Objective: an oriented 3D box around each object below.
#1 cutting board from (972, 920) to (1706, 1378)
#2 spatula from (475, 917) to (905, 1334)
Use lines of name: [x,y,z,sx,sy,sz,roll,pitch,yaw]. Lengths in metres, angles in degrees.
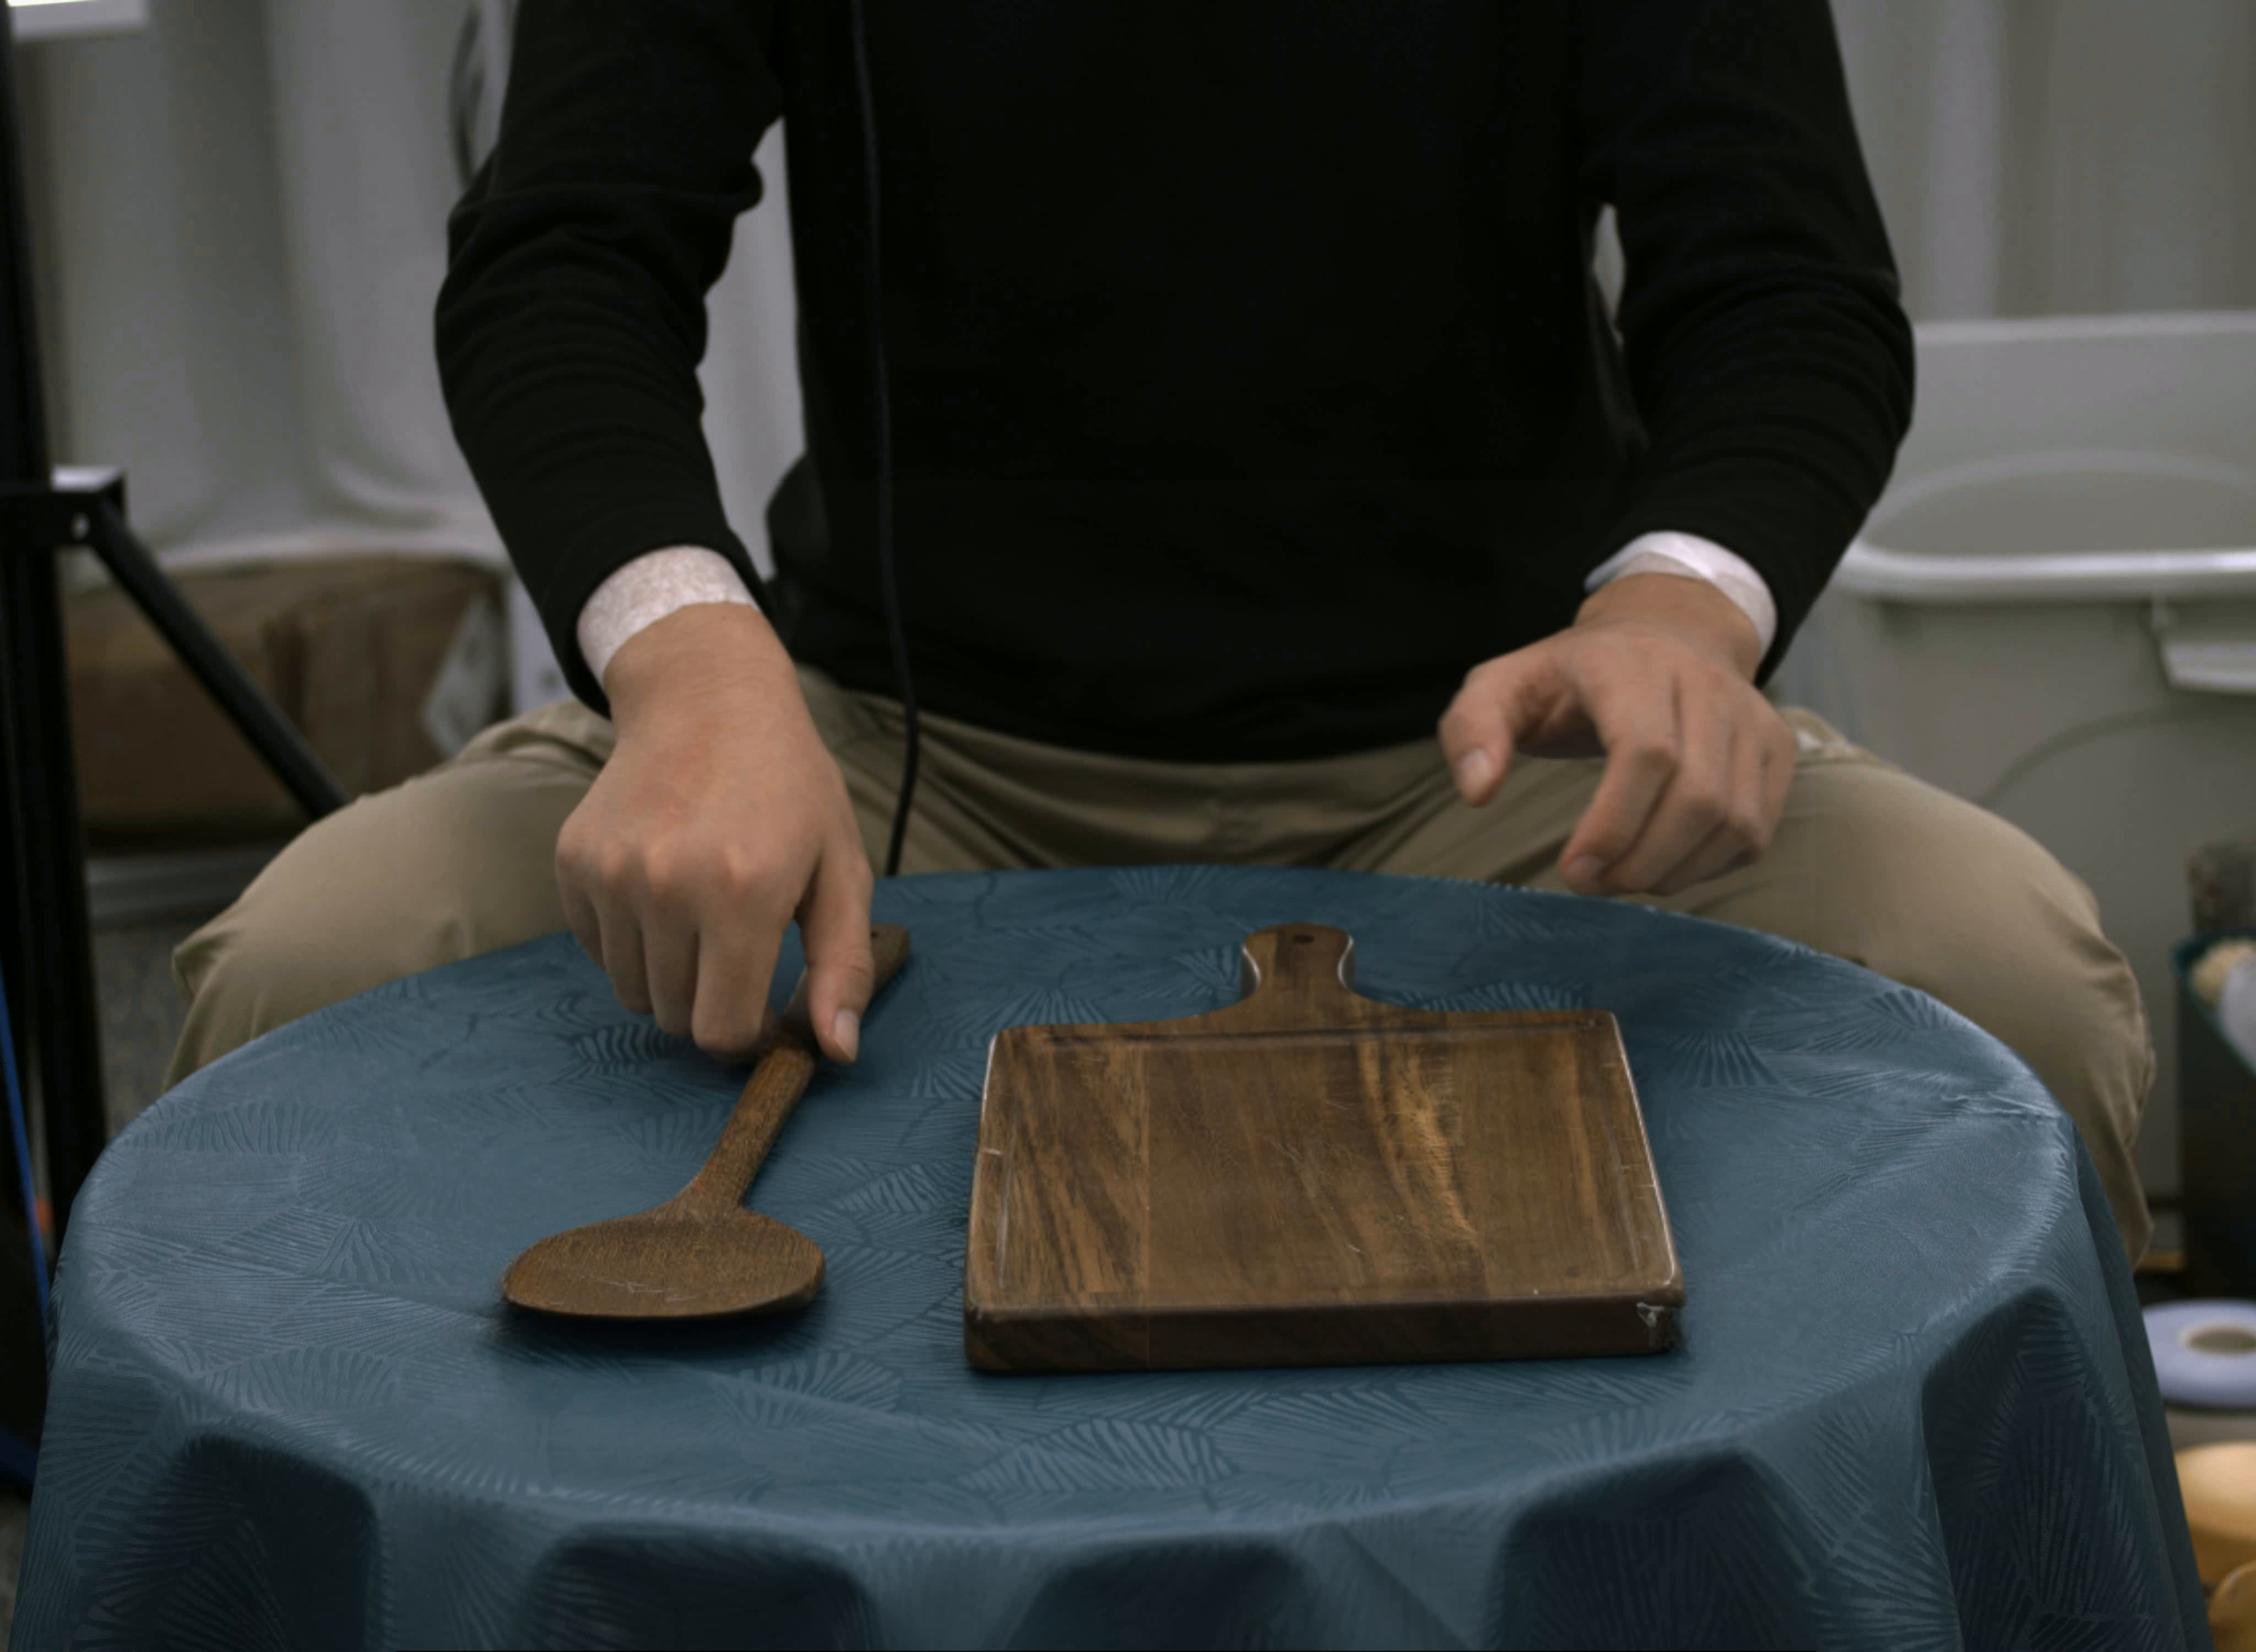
cutting board: [0.055,0.089,1.579,0.200,0.023,0.353,-2,16,1]
spatula: [-0.112,0.085,1.628,0.096,0.016,0.385,1,16,7]
